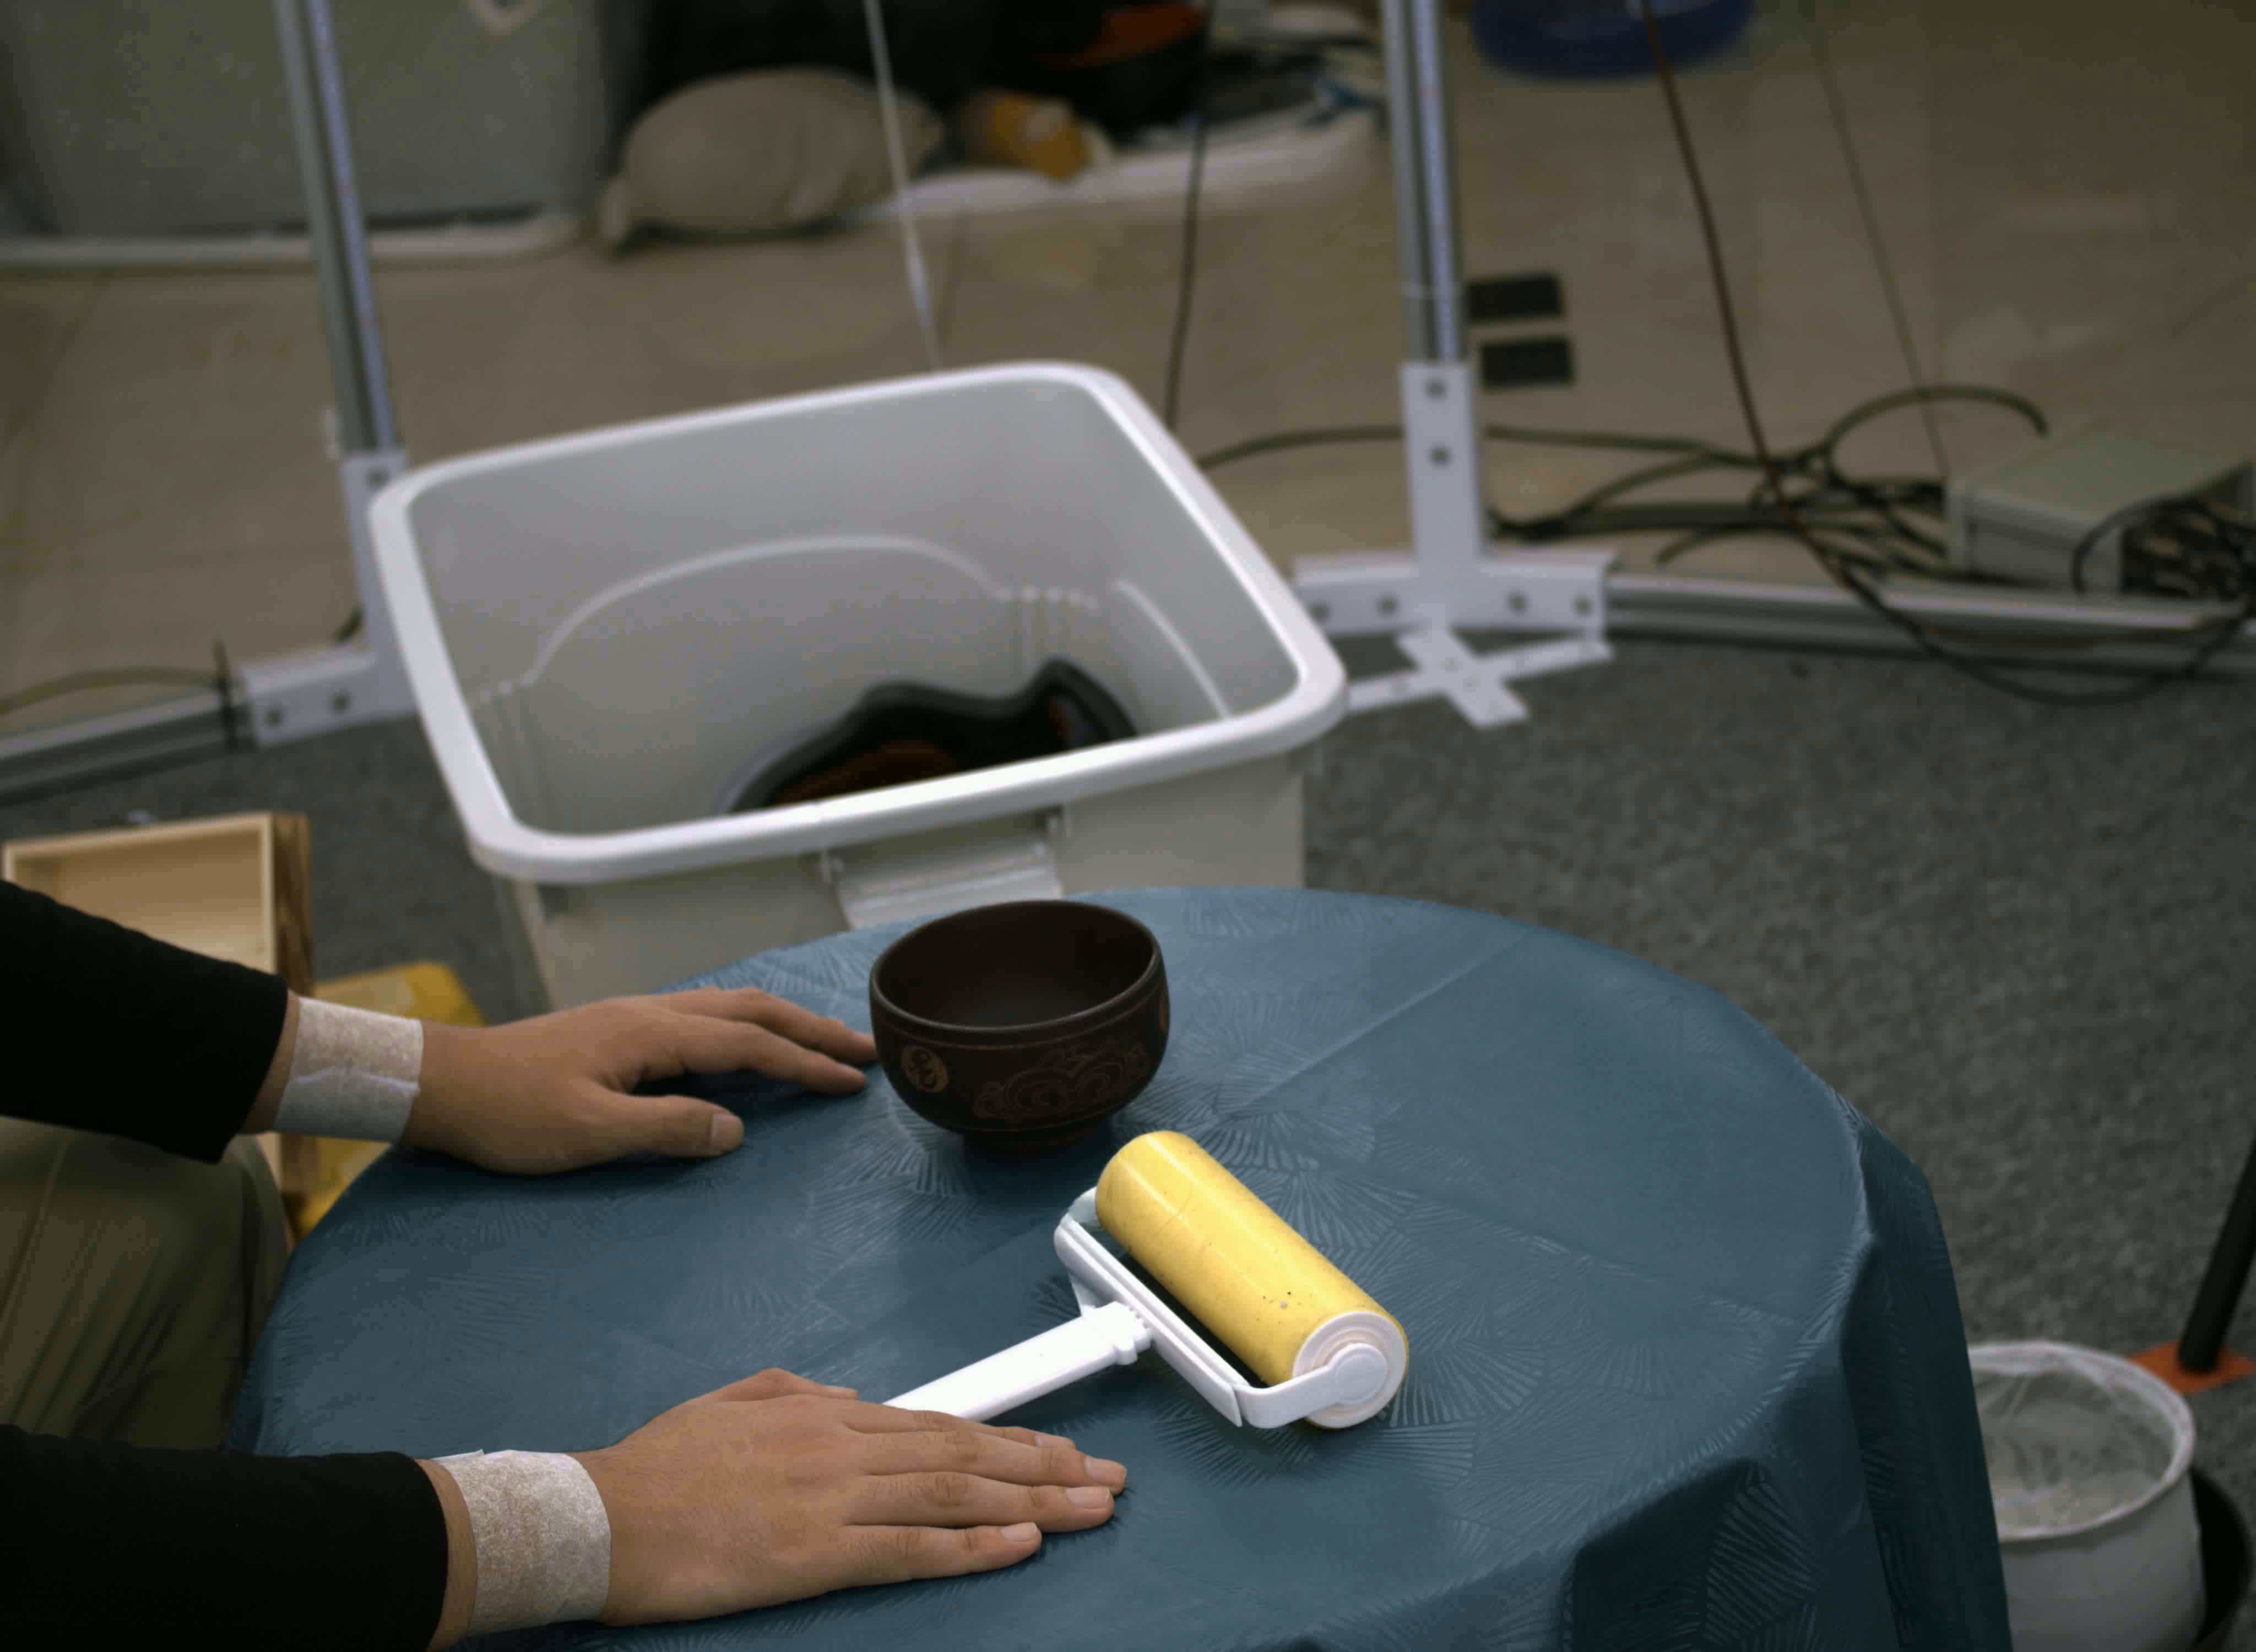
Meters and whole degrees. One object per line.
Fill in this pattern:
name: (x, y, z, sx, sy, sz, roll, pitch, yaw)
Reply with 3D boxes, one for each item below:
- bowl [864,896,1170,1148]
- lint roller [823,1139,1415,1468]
bowl: (-0.041, 0.082, 2.192, 0.118, 0.071, 0.116, -5, 24, 2)
lint roller: (-0.020, 0.179, 2.006, 0.191, 0.052, 0.172, -13, 25, -24)
